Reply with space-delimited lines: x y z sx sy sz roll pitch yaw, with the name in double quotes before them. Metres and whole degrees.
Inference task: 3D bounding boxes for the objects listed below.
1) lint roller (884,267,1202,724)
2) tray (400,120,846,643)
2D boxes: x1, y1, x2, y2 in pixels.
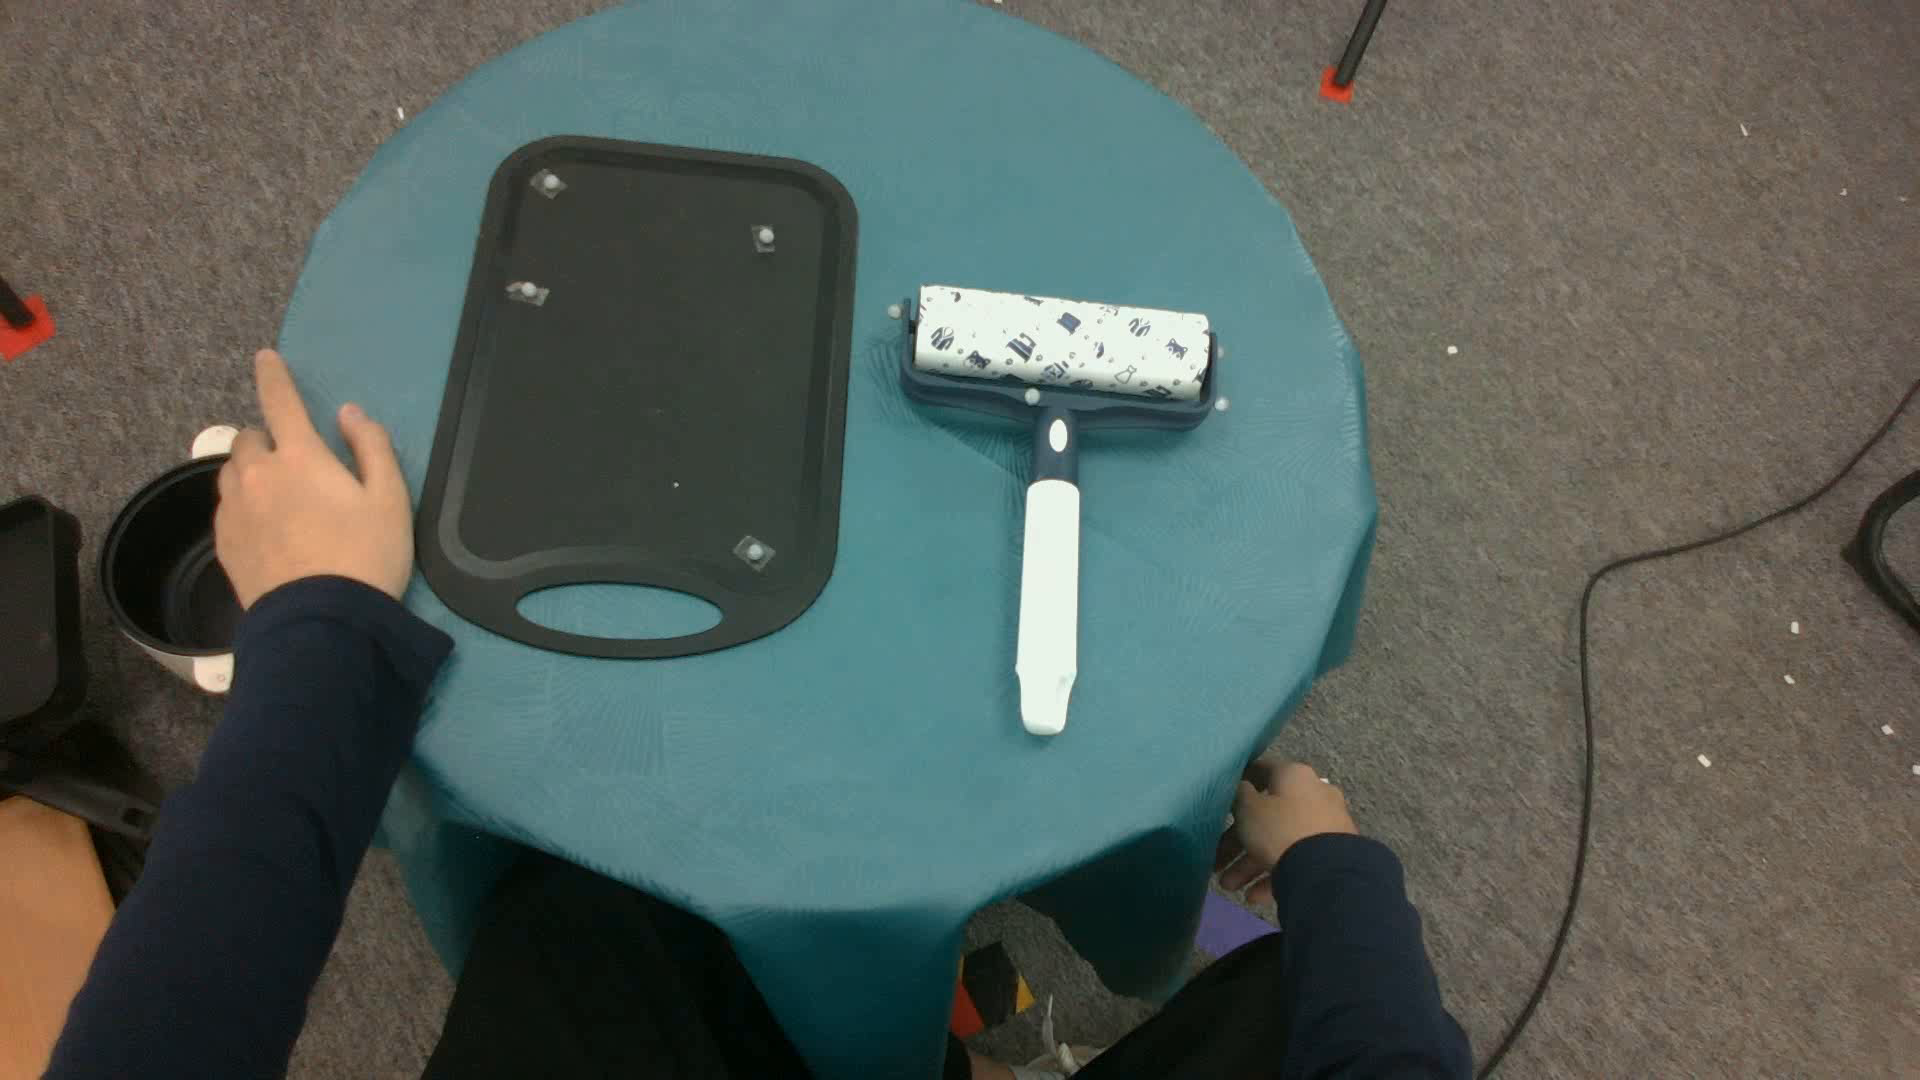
"lint roller" 0.043 -0.027 0.724 0.176 0.050 0.248 6 66 -7
"tray" -0.173 -0.097 0.745 0.211 0.010 0.326 5 63 -6
